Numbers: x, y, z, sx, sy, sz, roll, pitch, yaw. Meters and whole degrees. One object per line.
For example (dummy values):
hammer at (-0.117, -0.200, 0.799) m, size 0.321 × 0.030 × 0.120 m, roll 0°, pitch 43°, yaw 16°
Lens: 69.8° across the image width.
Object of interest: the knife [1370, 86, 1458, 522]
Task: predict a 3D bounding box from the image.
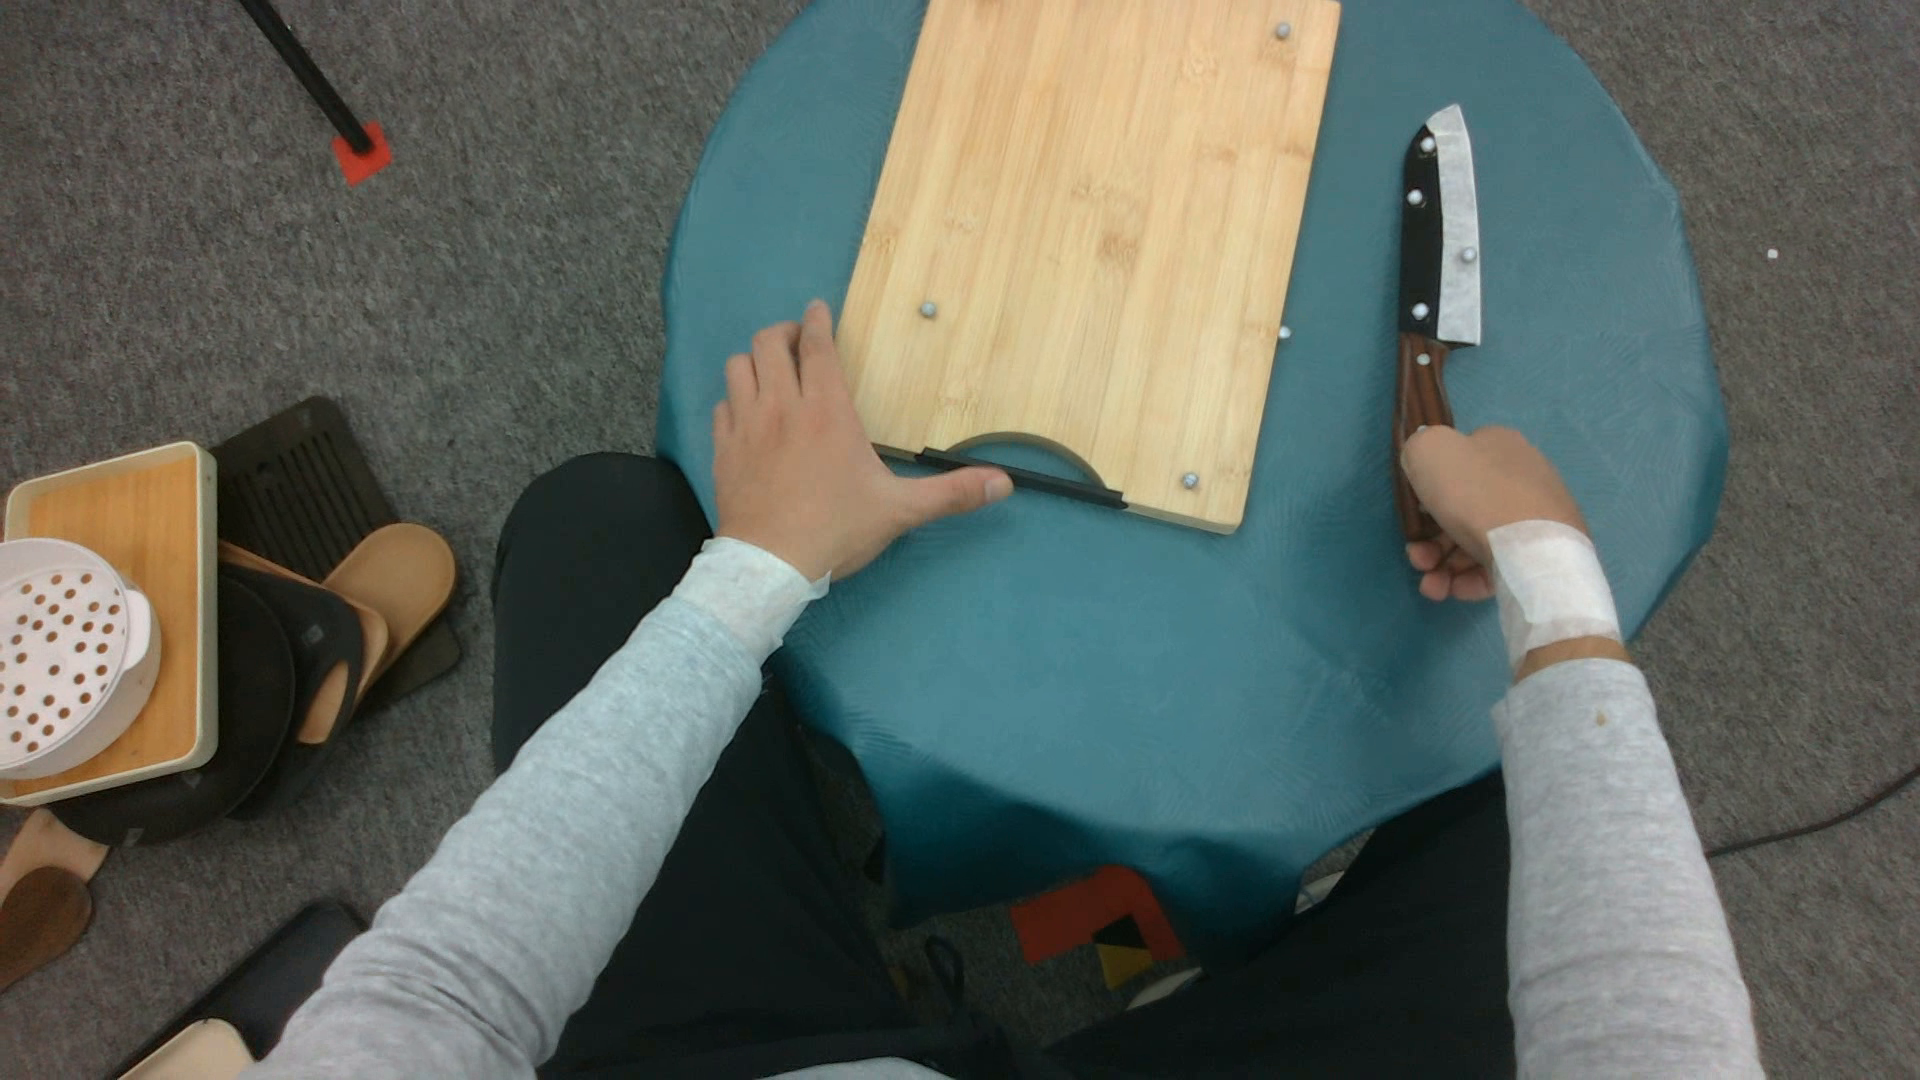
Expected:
knife at (0.256, -0.143, 0.779) m, size 0.050 × 0.020 × 0.290 m, roll 7°, pitch 68°, yaw 8°

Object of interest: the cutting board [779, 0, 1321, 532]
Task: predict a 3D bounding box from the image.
cutting board at (0.060, -0.194, 0.793) m, size 0.251 × 0.023 × 0.349 m, roll 12°, pitch 74°, yaw 1°
